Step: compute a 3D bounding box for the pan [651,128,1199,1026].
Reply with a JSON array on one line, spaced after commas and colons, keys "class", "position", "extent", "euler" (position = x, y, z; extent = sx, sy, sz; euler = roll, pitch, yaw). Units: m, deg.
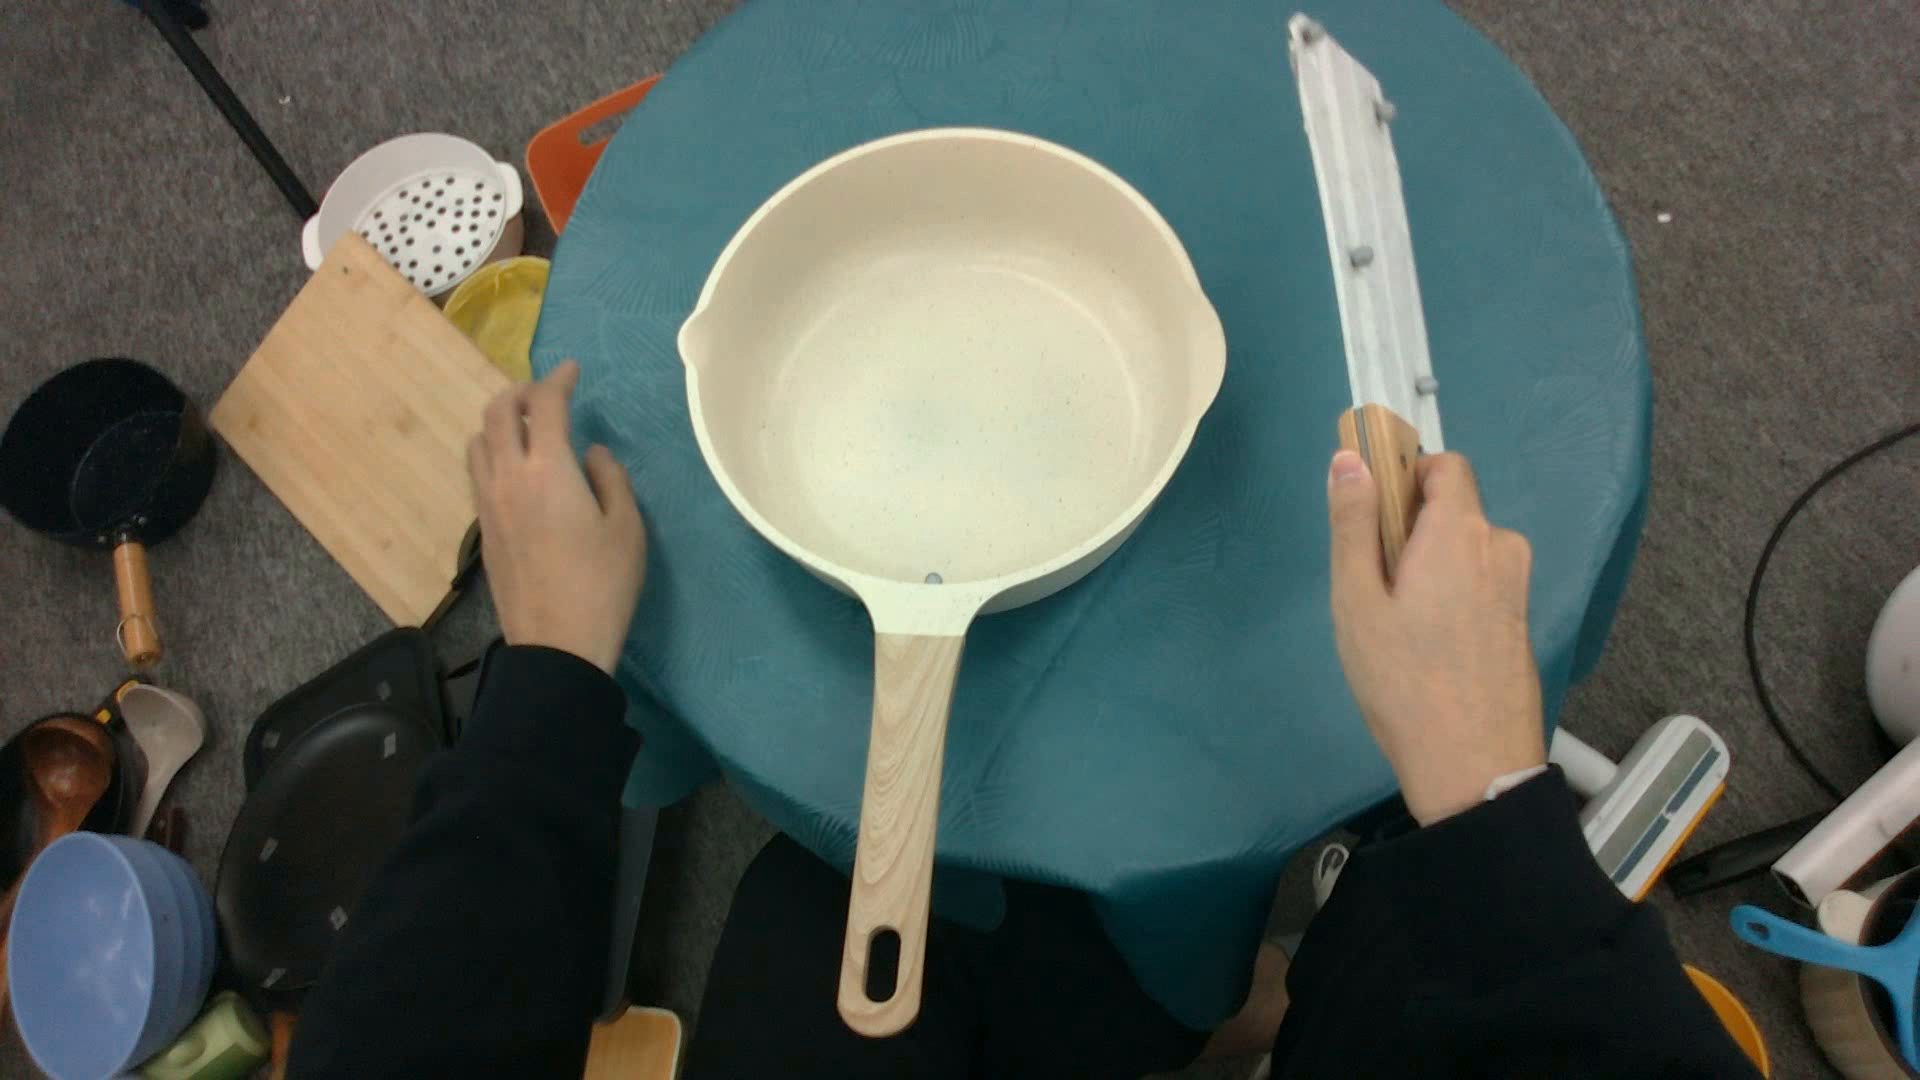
[{"class": "pan", "position": [-0.021, 0.002, 0.653], "extent": [0.263, 0.101, 0.436], "euler": [2, 67, 2]}]

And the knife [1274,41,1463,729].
[{"class": "knife", "position": [0.176, -0.076, 0.589], "extent": [0.021, 0.114, 0.316], "euler": [-18, 65, 39]}]
